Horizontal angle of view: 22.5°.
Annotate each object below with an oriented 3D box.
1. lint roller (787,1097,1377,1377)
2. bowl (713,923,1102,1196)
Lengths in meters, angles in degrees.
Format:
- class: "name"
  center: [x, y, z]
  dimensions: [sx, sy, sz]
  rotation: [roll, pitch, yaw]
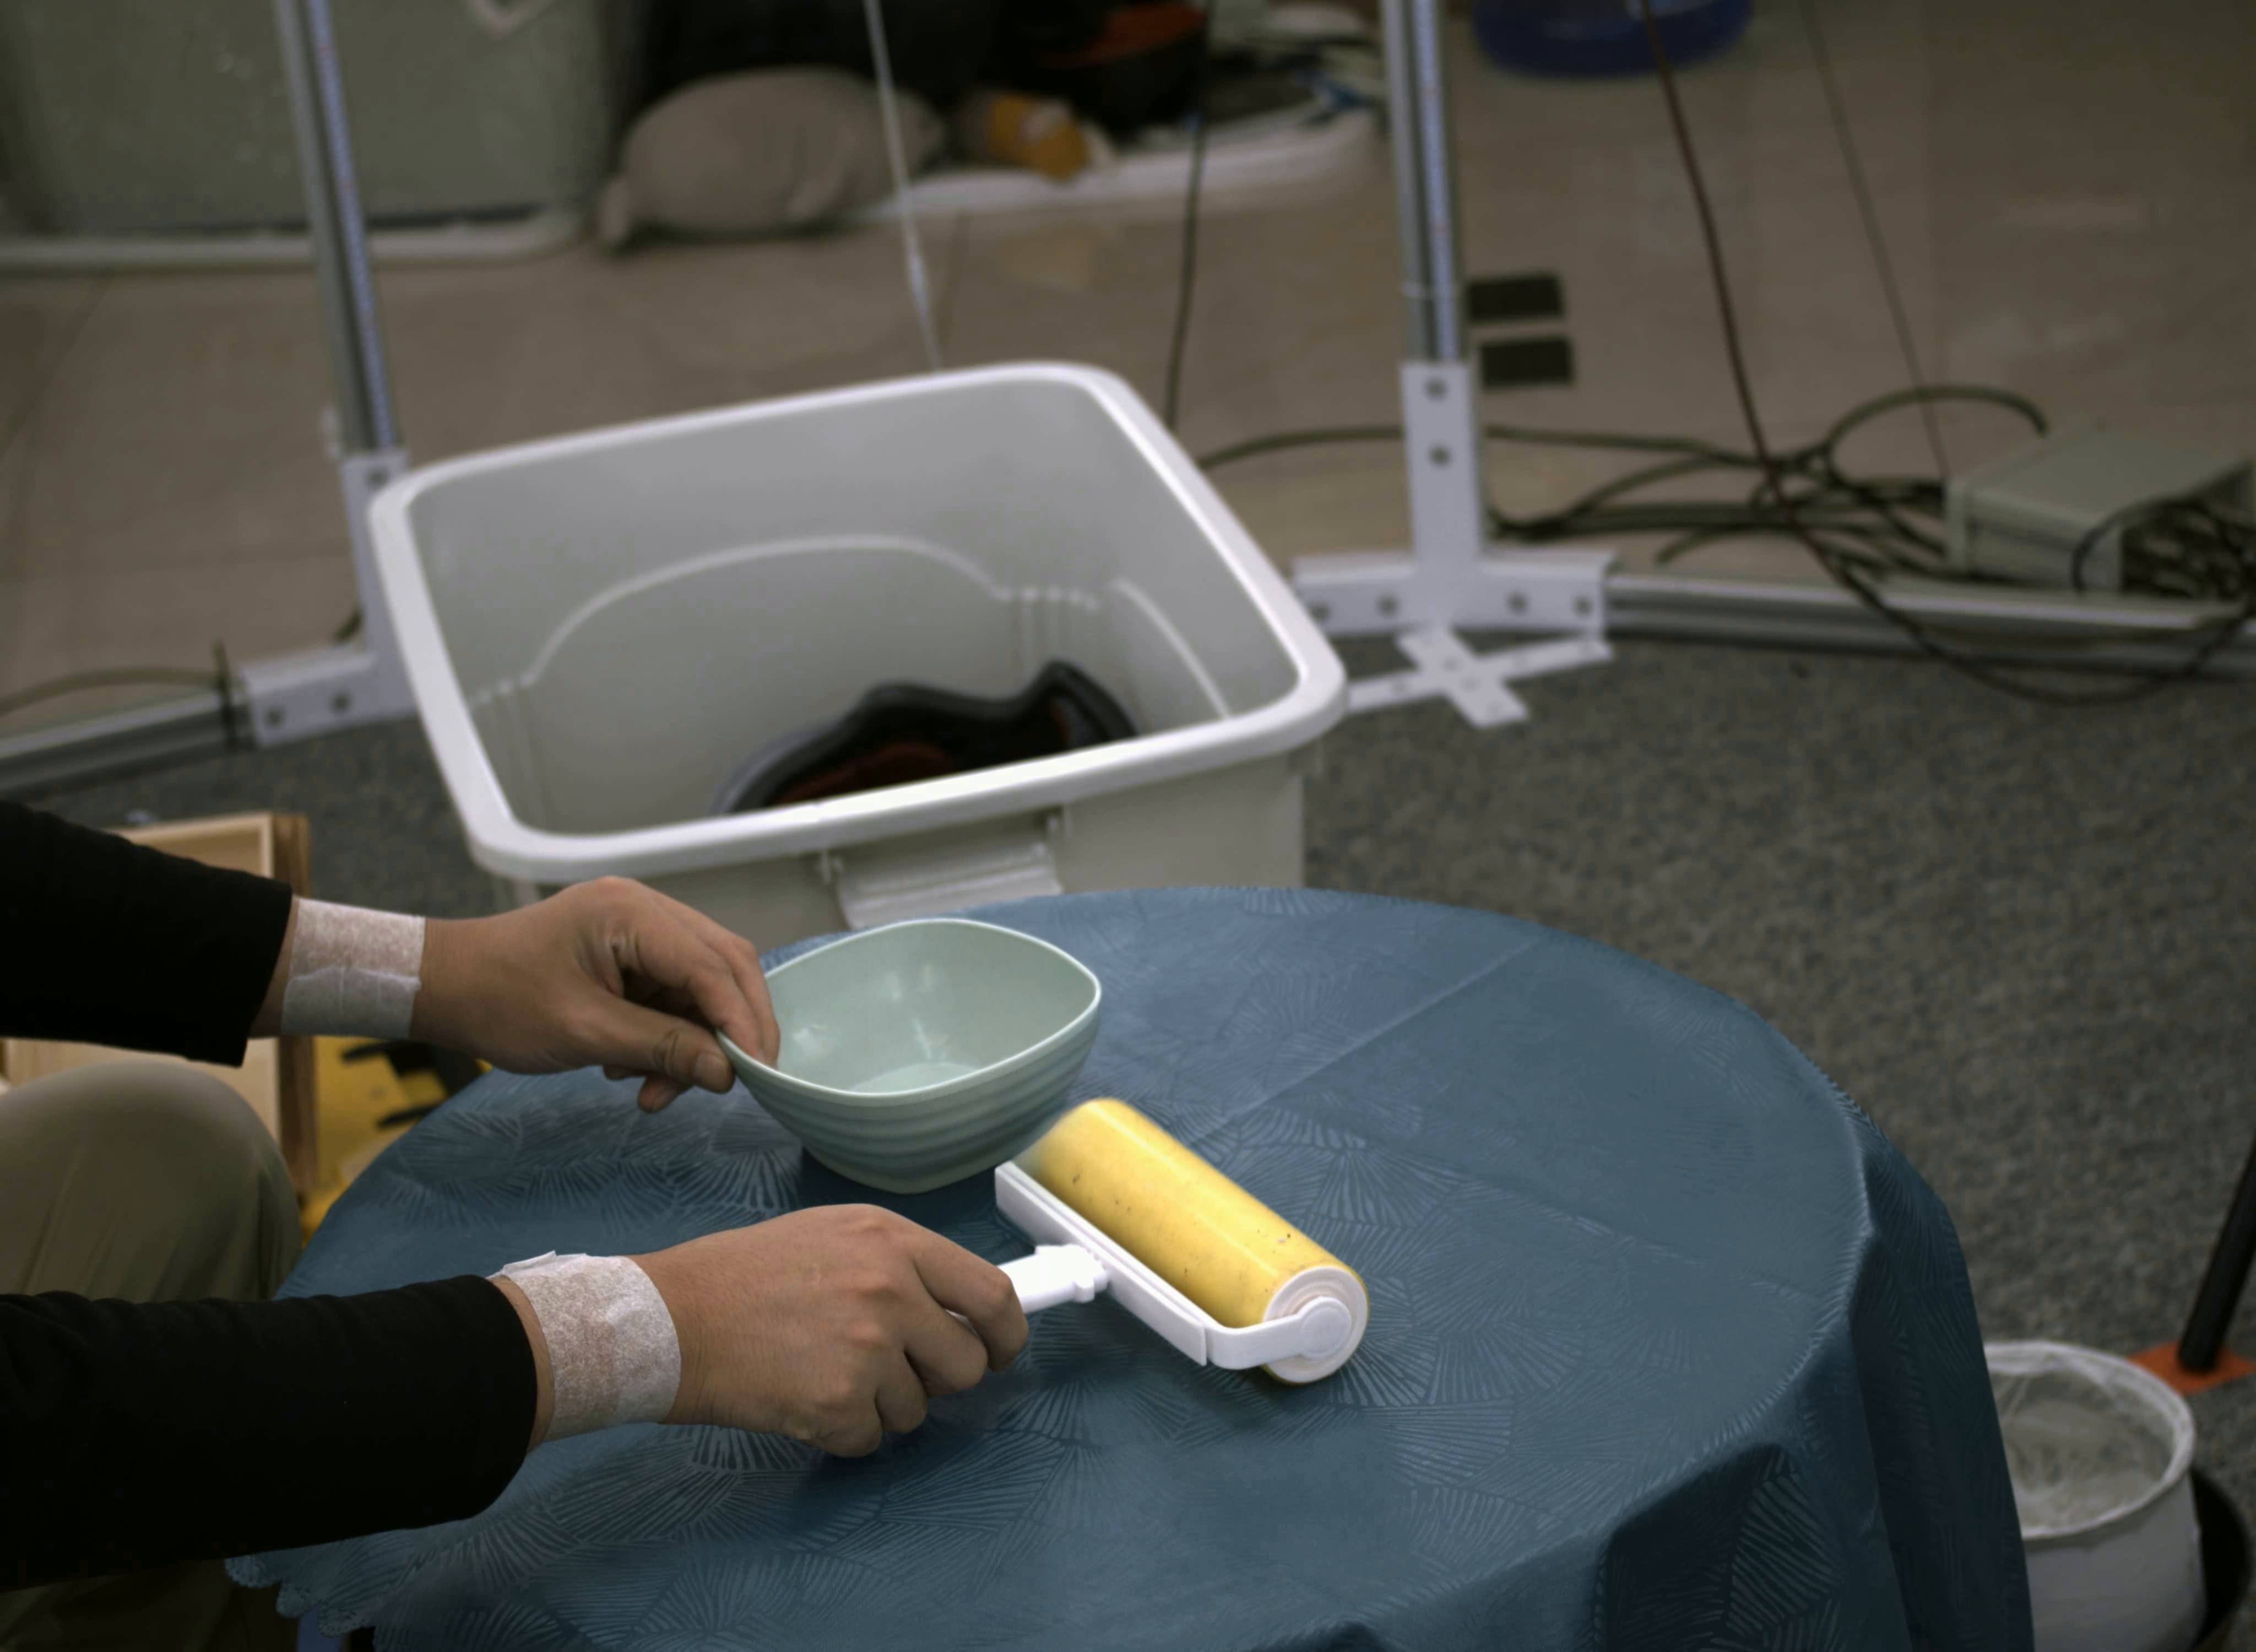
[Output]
- class: "lint roller"
  center: [-0.034, 0.155, 2.022]
  dimensions: [0.191, 0.052, 0.172]
  rotation: [-5, 21, -32]
- class: "bowl"
  center: [-0.083, 0.095, 2.194]
  dimensions: [0.151, 0.059, 0.149]
  rotation: [-4, 25, 2]
